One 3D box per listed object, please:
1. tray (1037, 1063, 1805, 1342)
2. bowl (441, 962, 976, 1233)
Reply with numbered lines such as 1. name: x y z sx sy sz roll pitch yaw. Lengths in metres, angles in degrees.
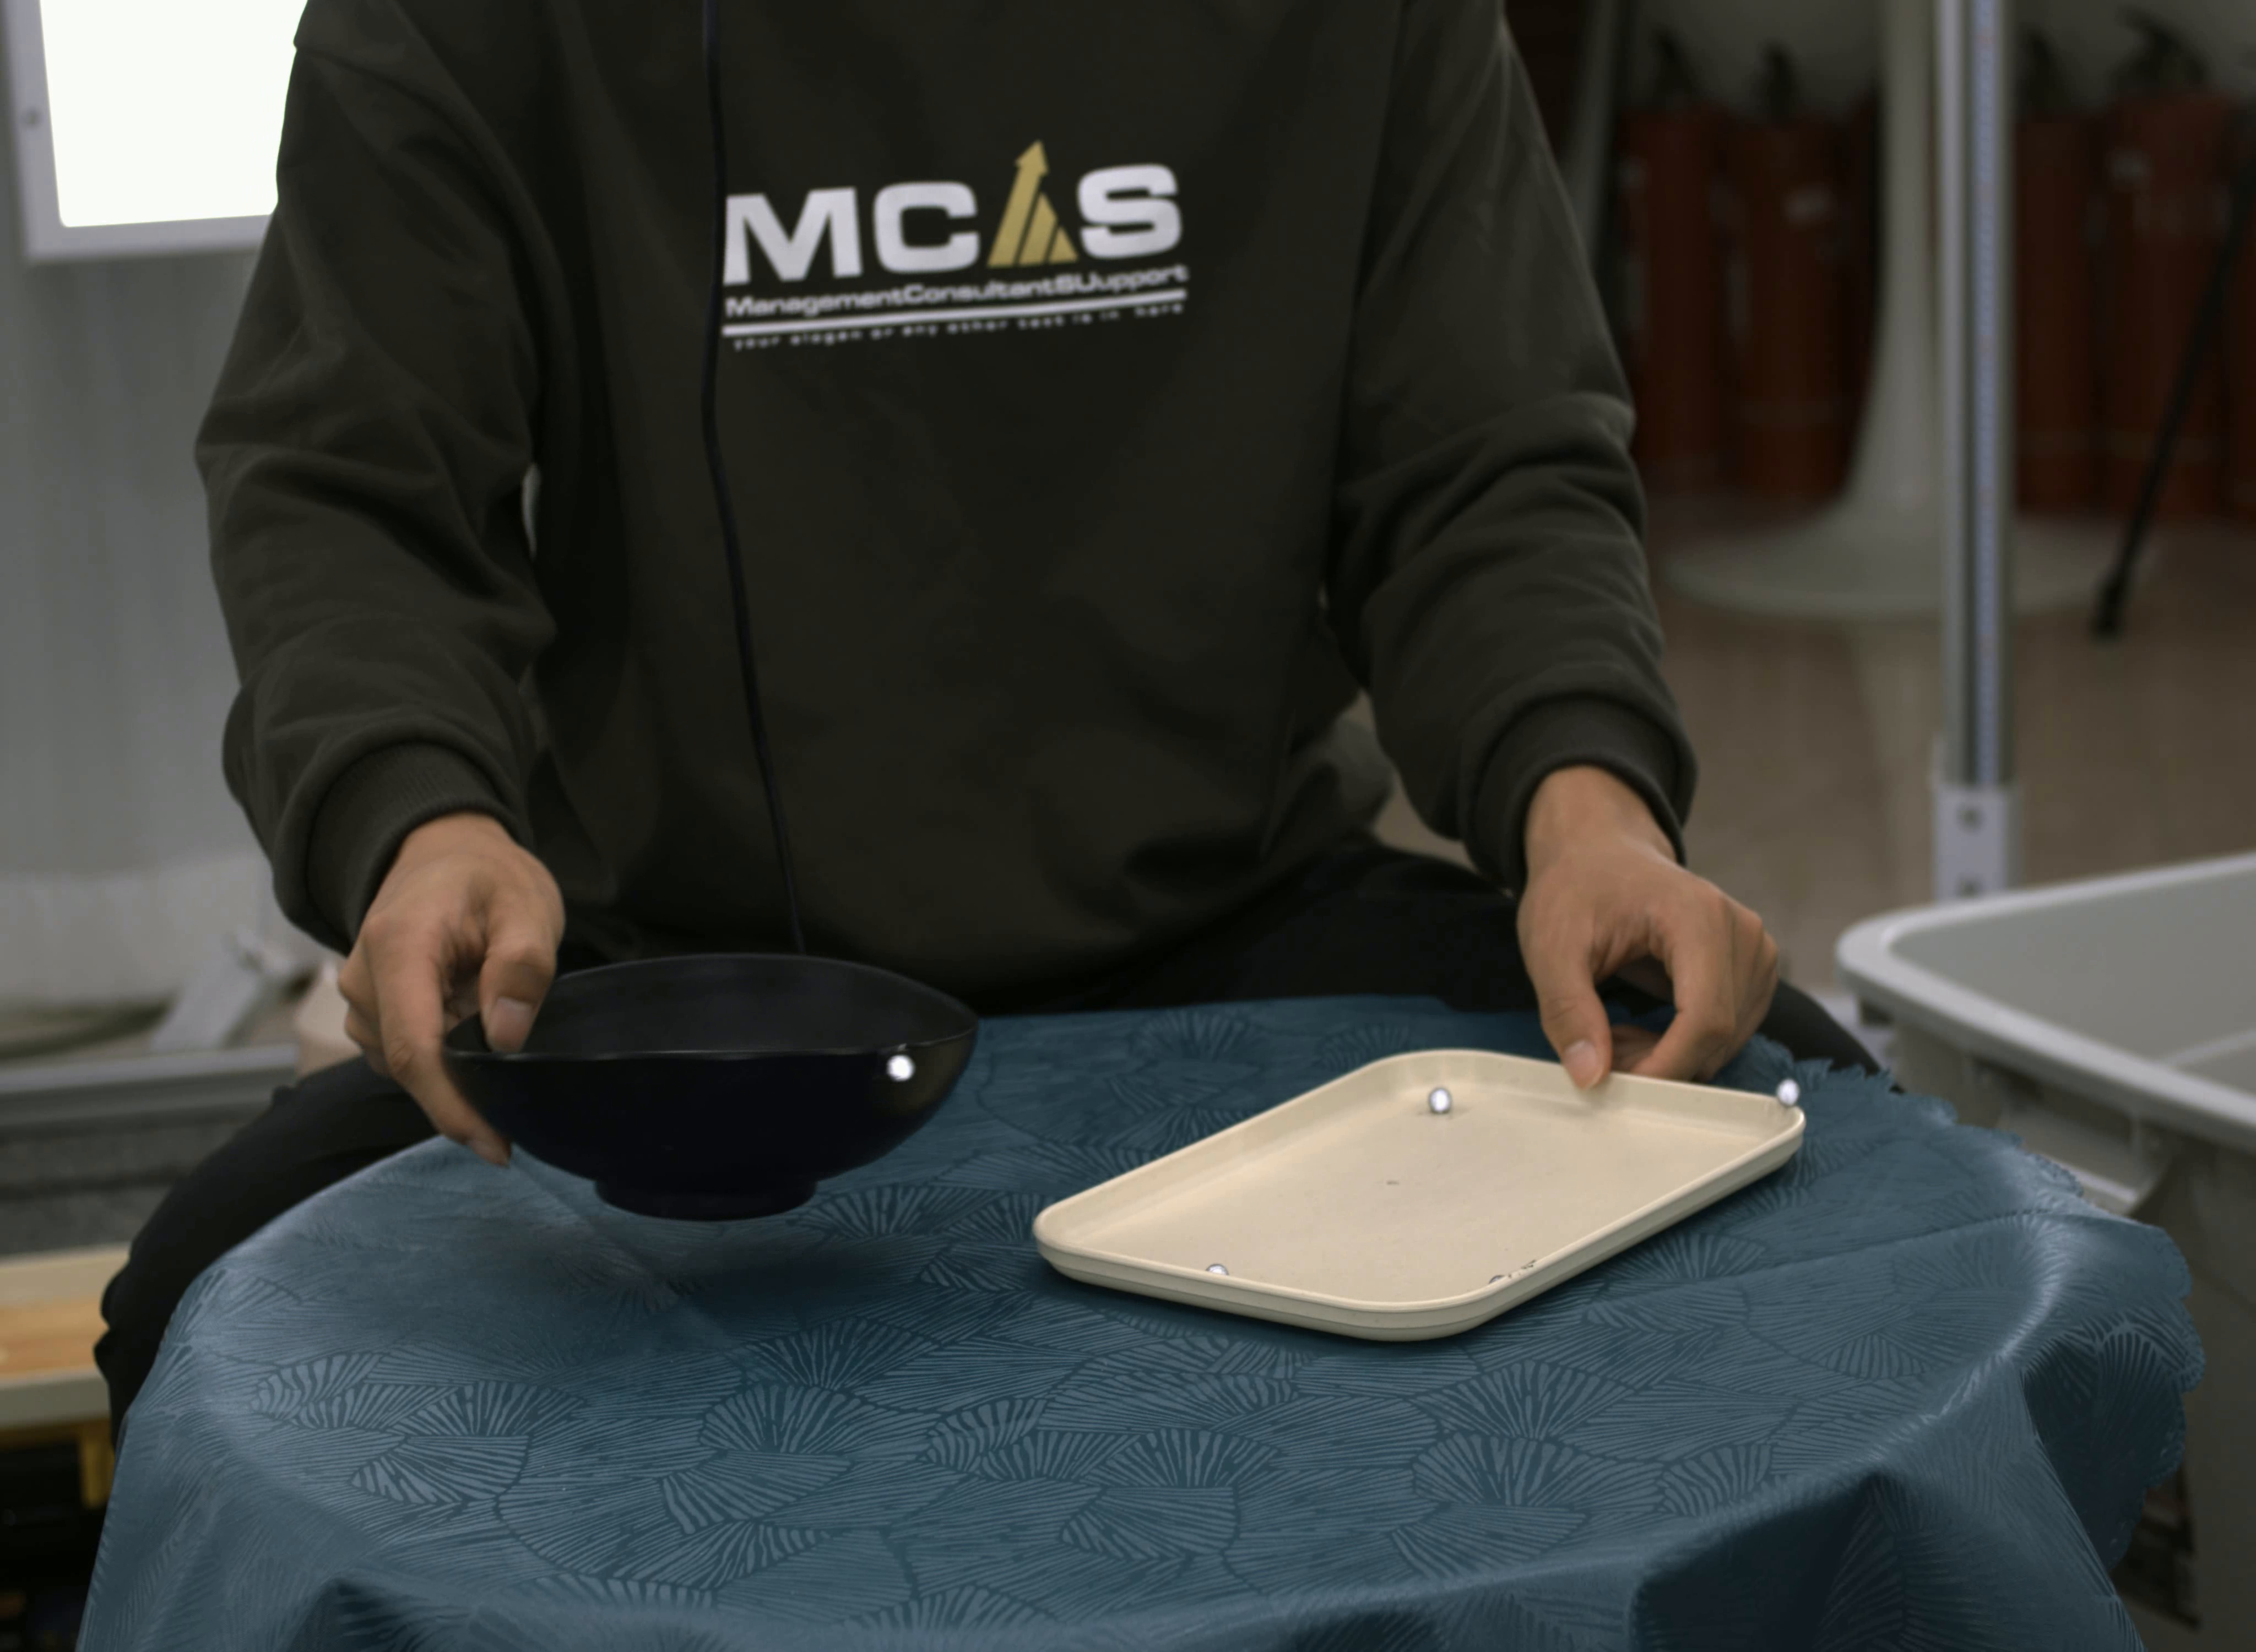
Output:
1. tray: 0.097 0.119 1.724 0.172 0.017 0.235 6 16 38
2. bowl: -0.131 0.088 1.700 0.168 0.067 0.137 -2 9 -3
